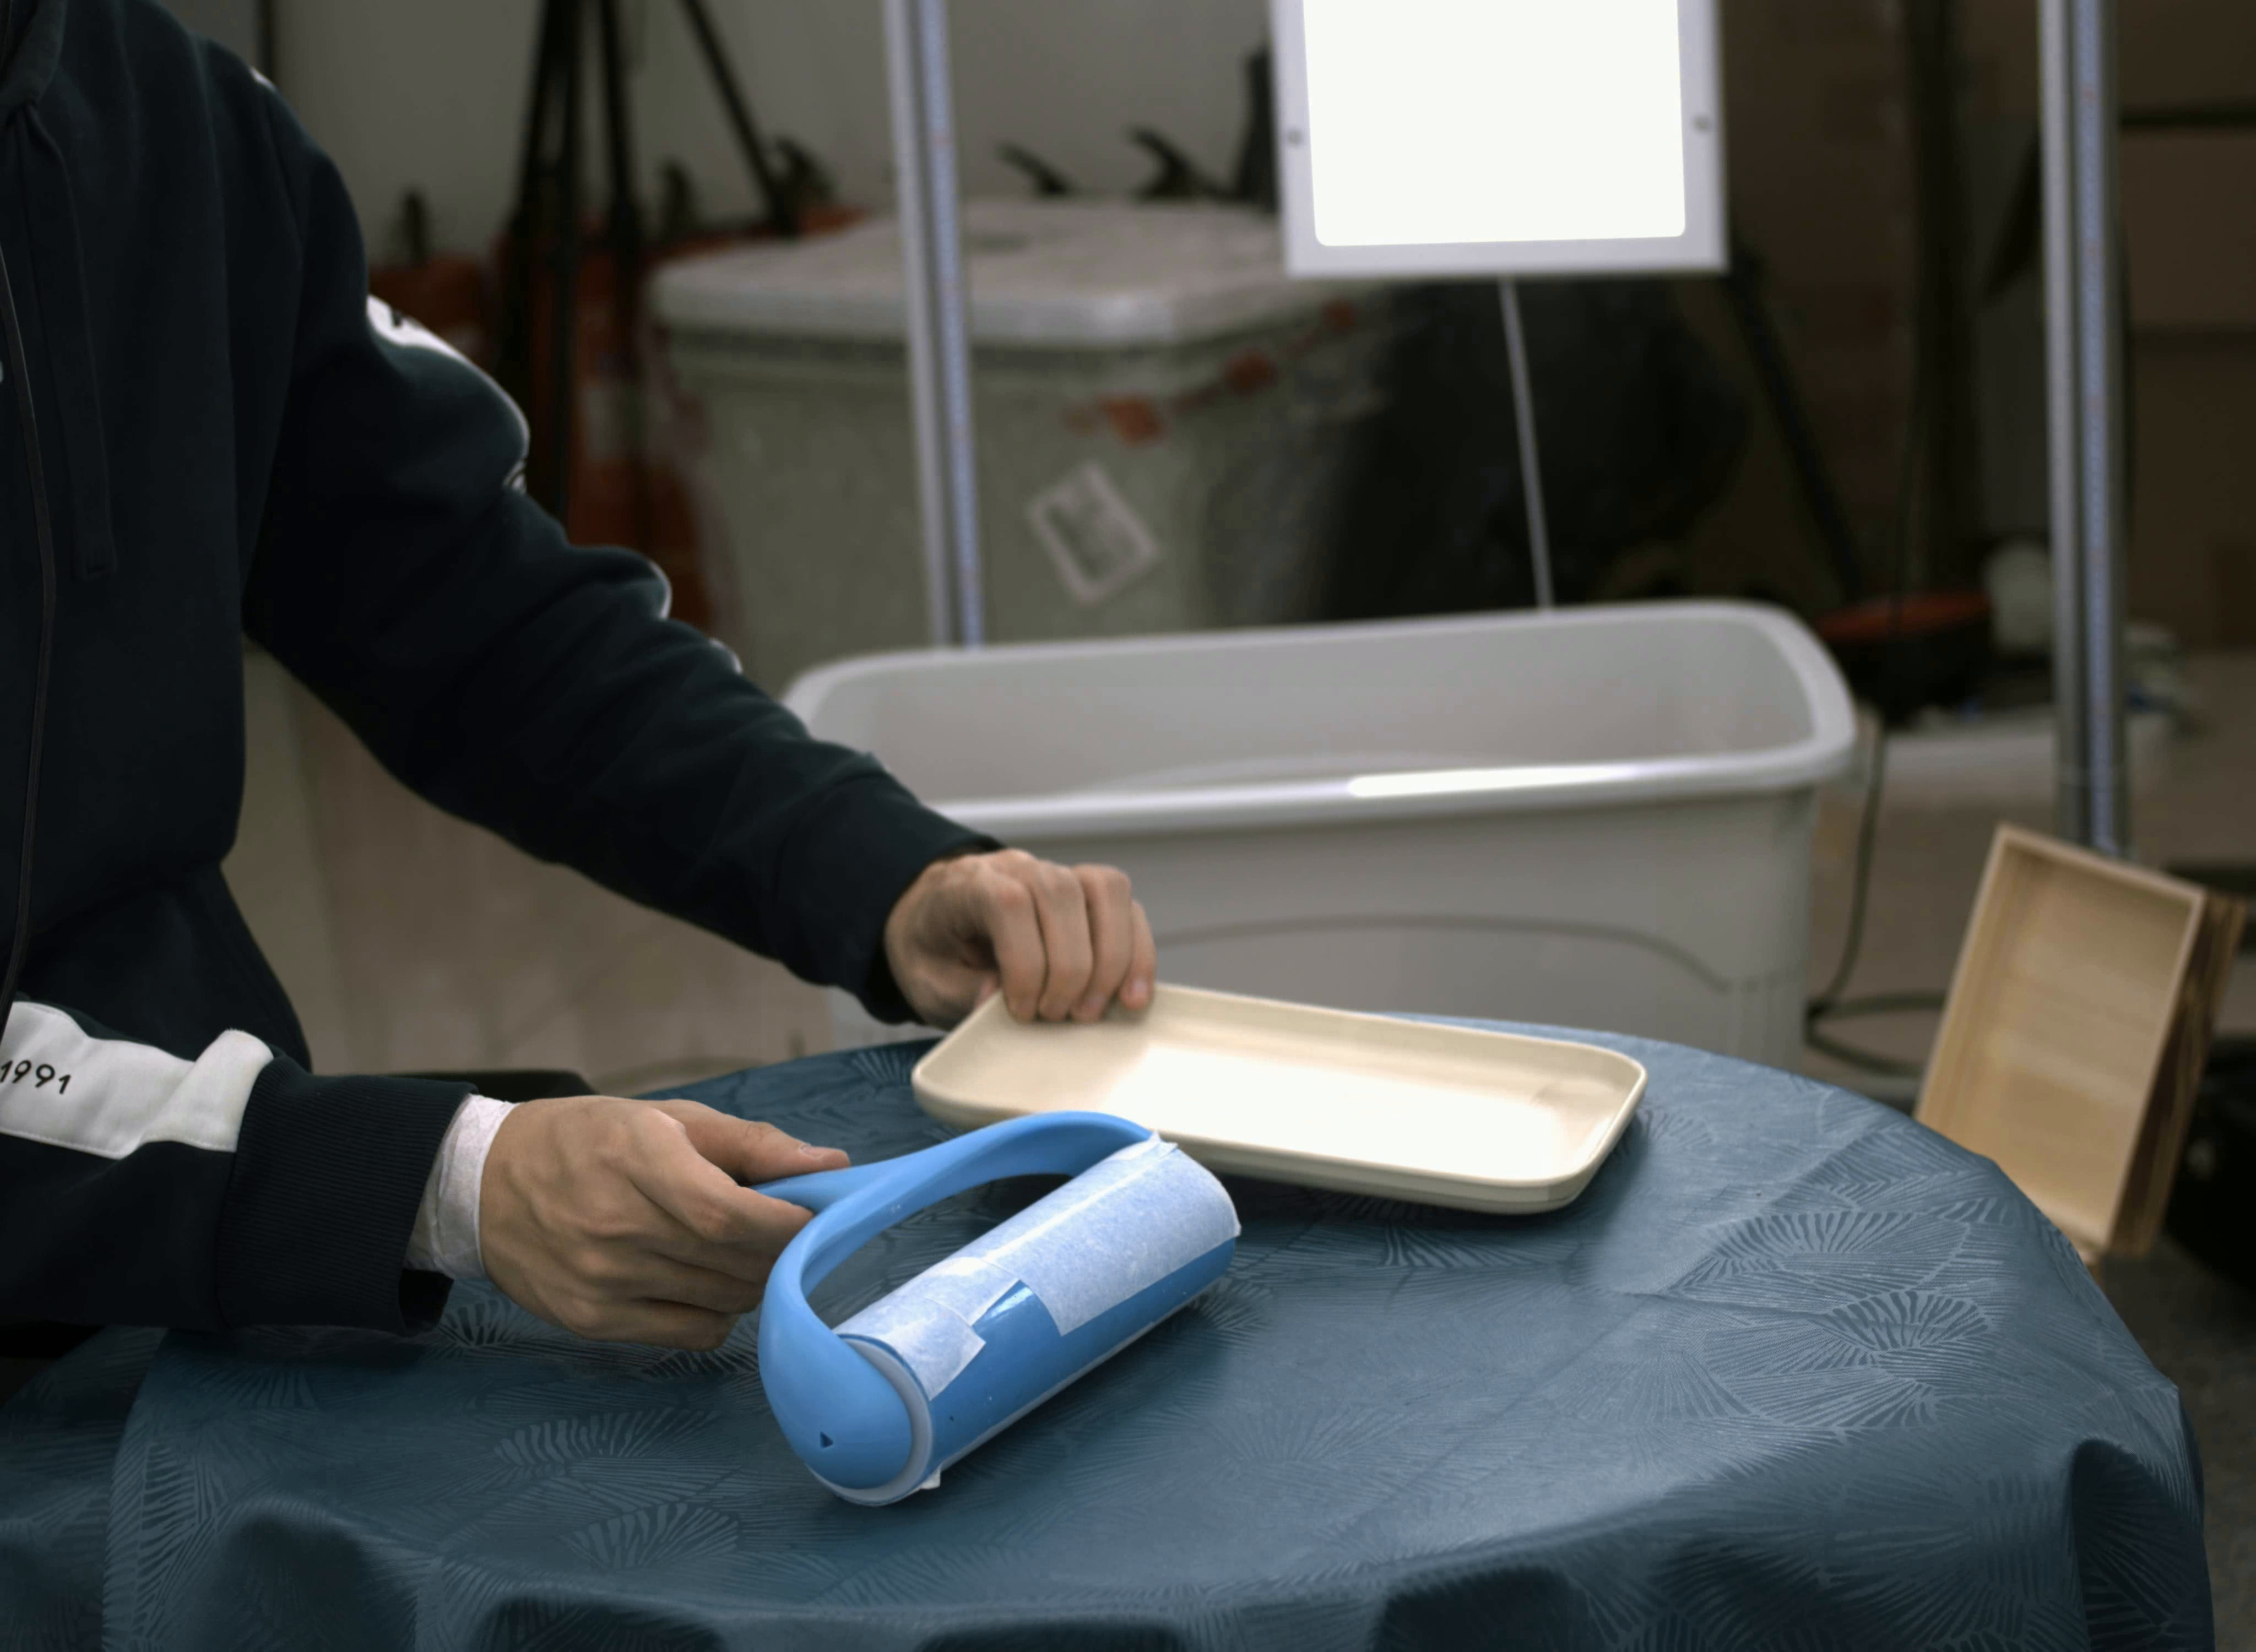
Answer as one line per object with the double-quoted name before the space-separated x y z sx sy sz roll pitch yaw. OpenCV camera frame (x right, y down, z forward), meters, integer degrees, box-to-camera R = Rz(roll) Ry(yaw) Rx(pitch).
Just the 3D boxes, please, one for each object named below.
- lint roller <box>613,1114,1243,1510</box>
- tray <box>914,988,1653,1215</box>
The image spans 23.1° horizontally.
"lint roller" -0.084 0.141 1.721 0.183 0.068 0.224 9 21 26
"tray" 0.056 0.095 1.910 0.242 0.017 0.168 6 14 16
